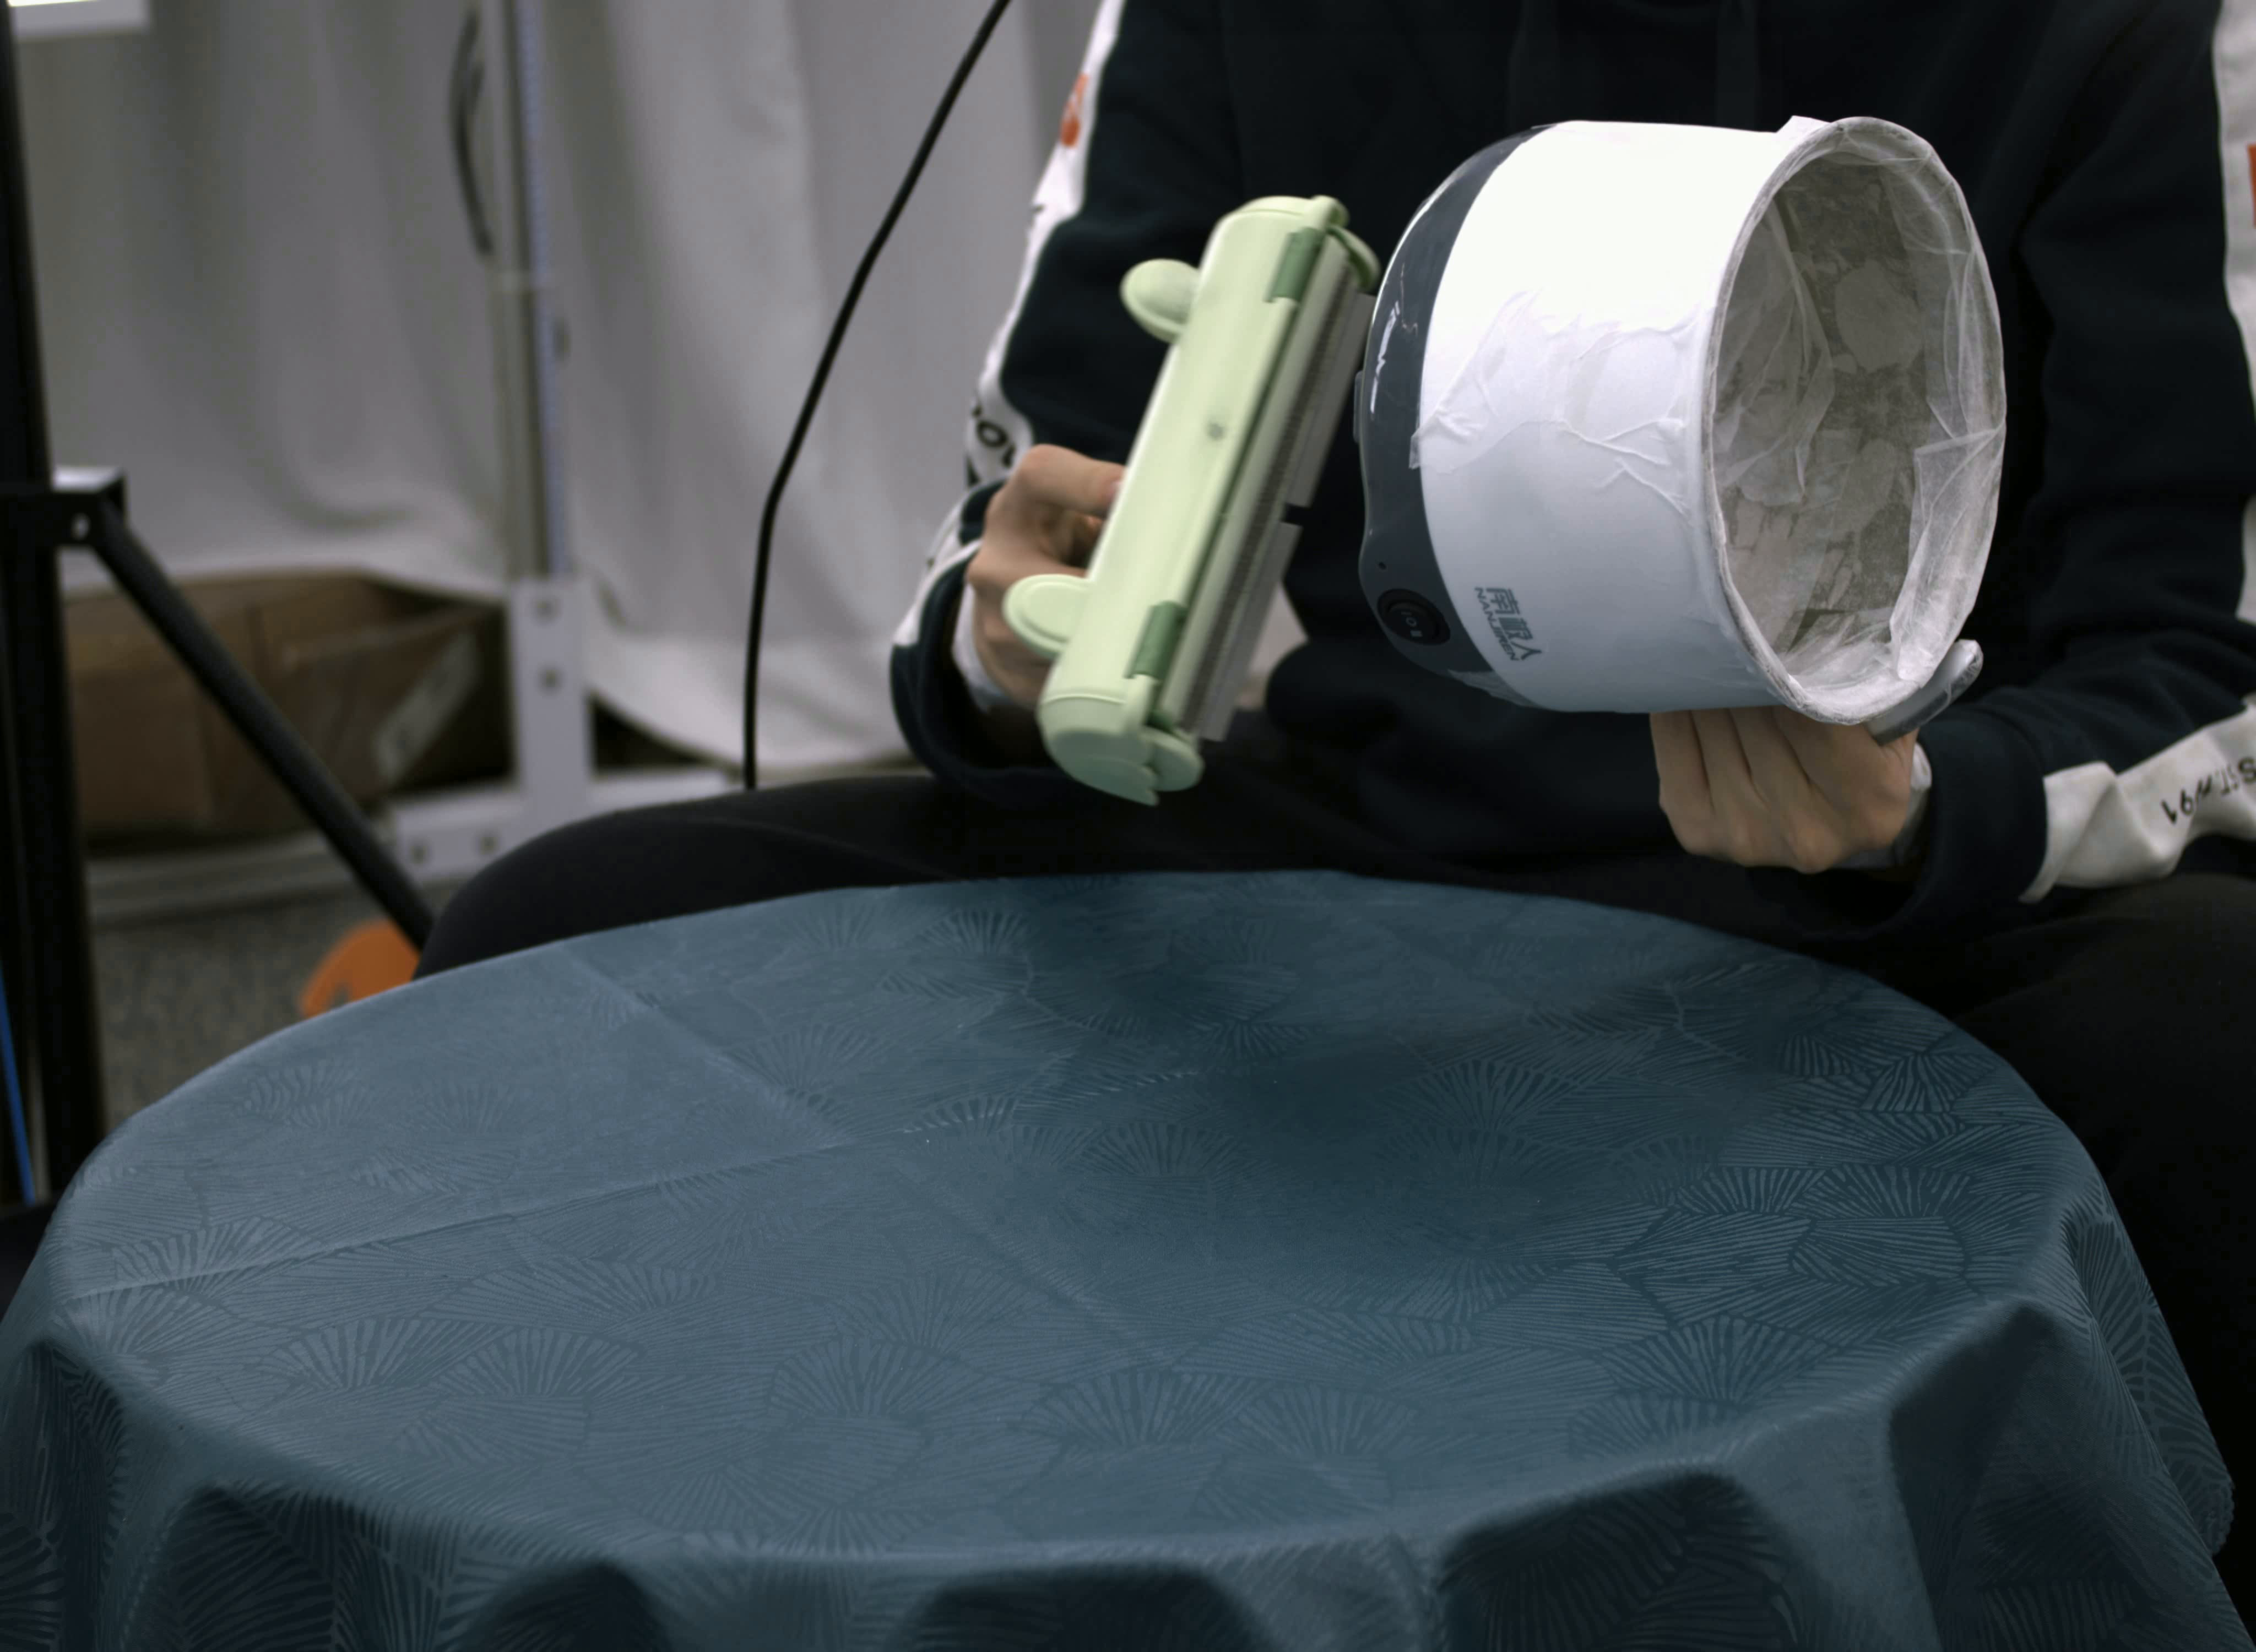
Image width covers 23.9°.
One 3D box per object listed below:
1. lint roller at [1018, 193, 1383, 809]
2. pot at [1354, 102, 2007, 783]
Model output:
[{"bbox_3d":[0.000,-0.095,1.714,0.081,0.199,0.186,27,-22,-18],"label":"lint roller"},{"bbox_3d":[0.173,-0.102,1.590,0.139,0.230,0.178,4,49,38],"label":"pot"}]
